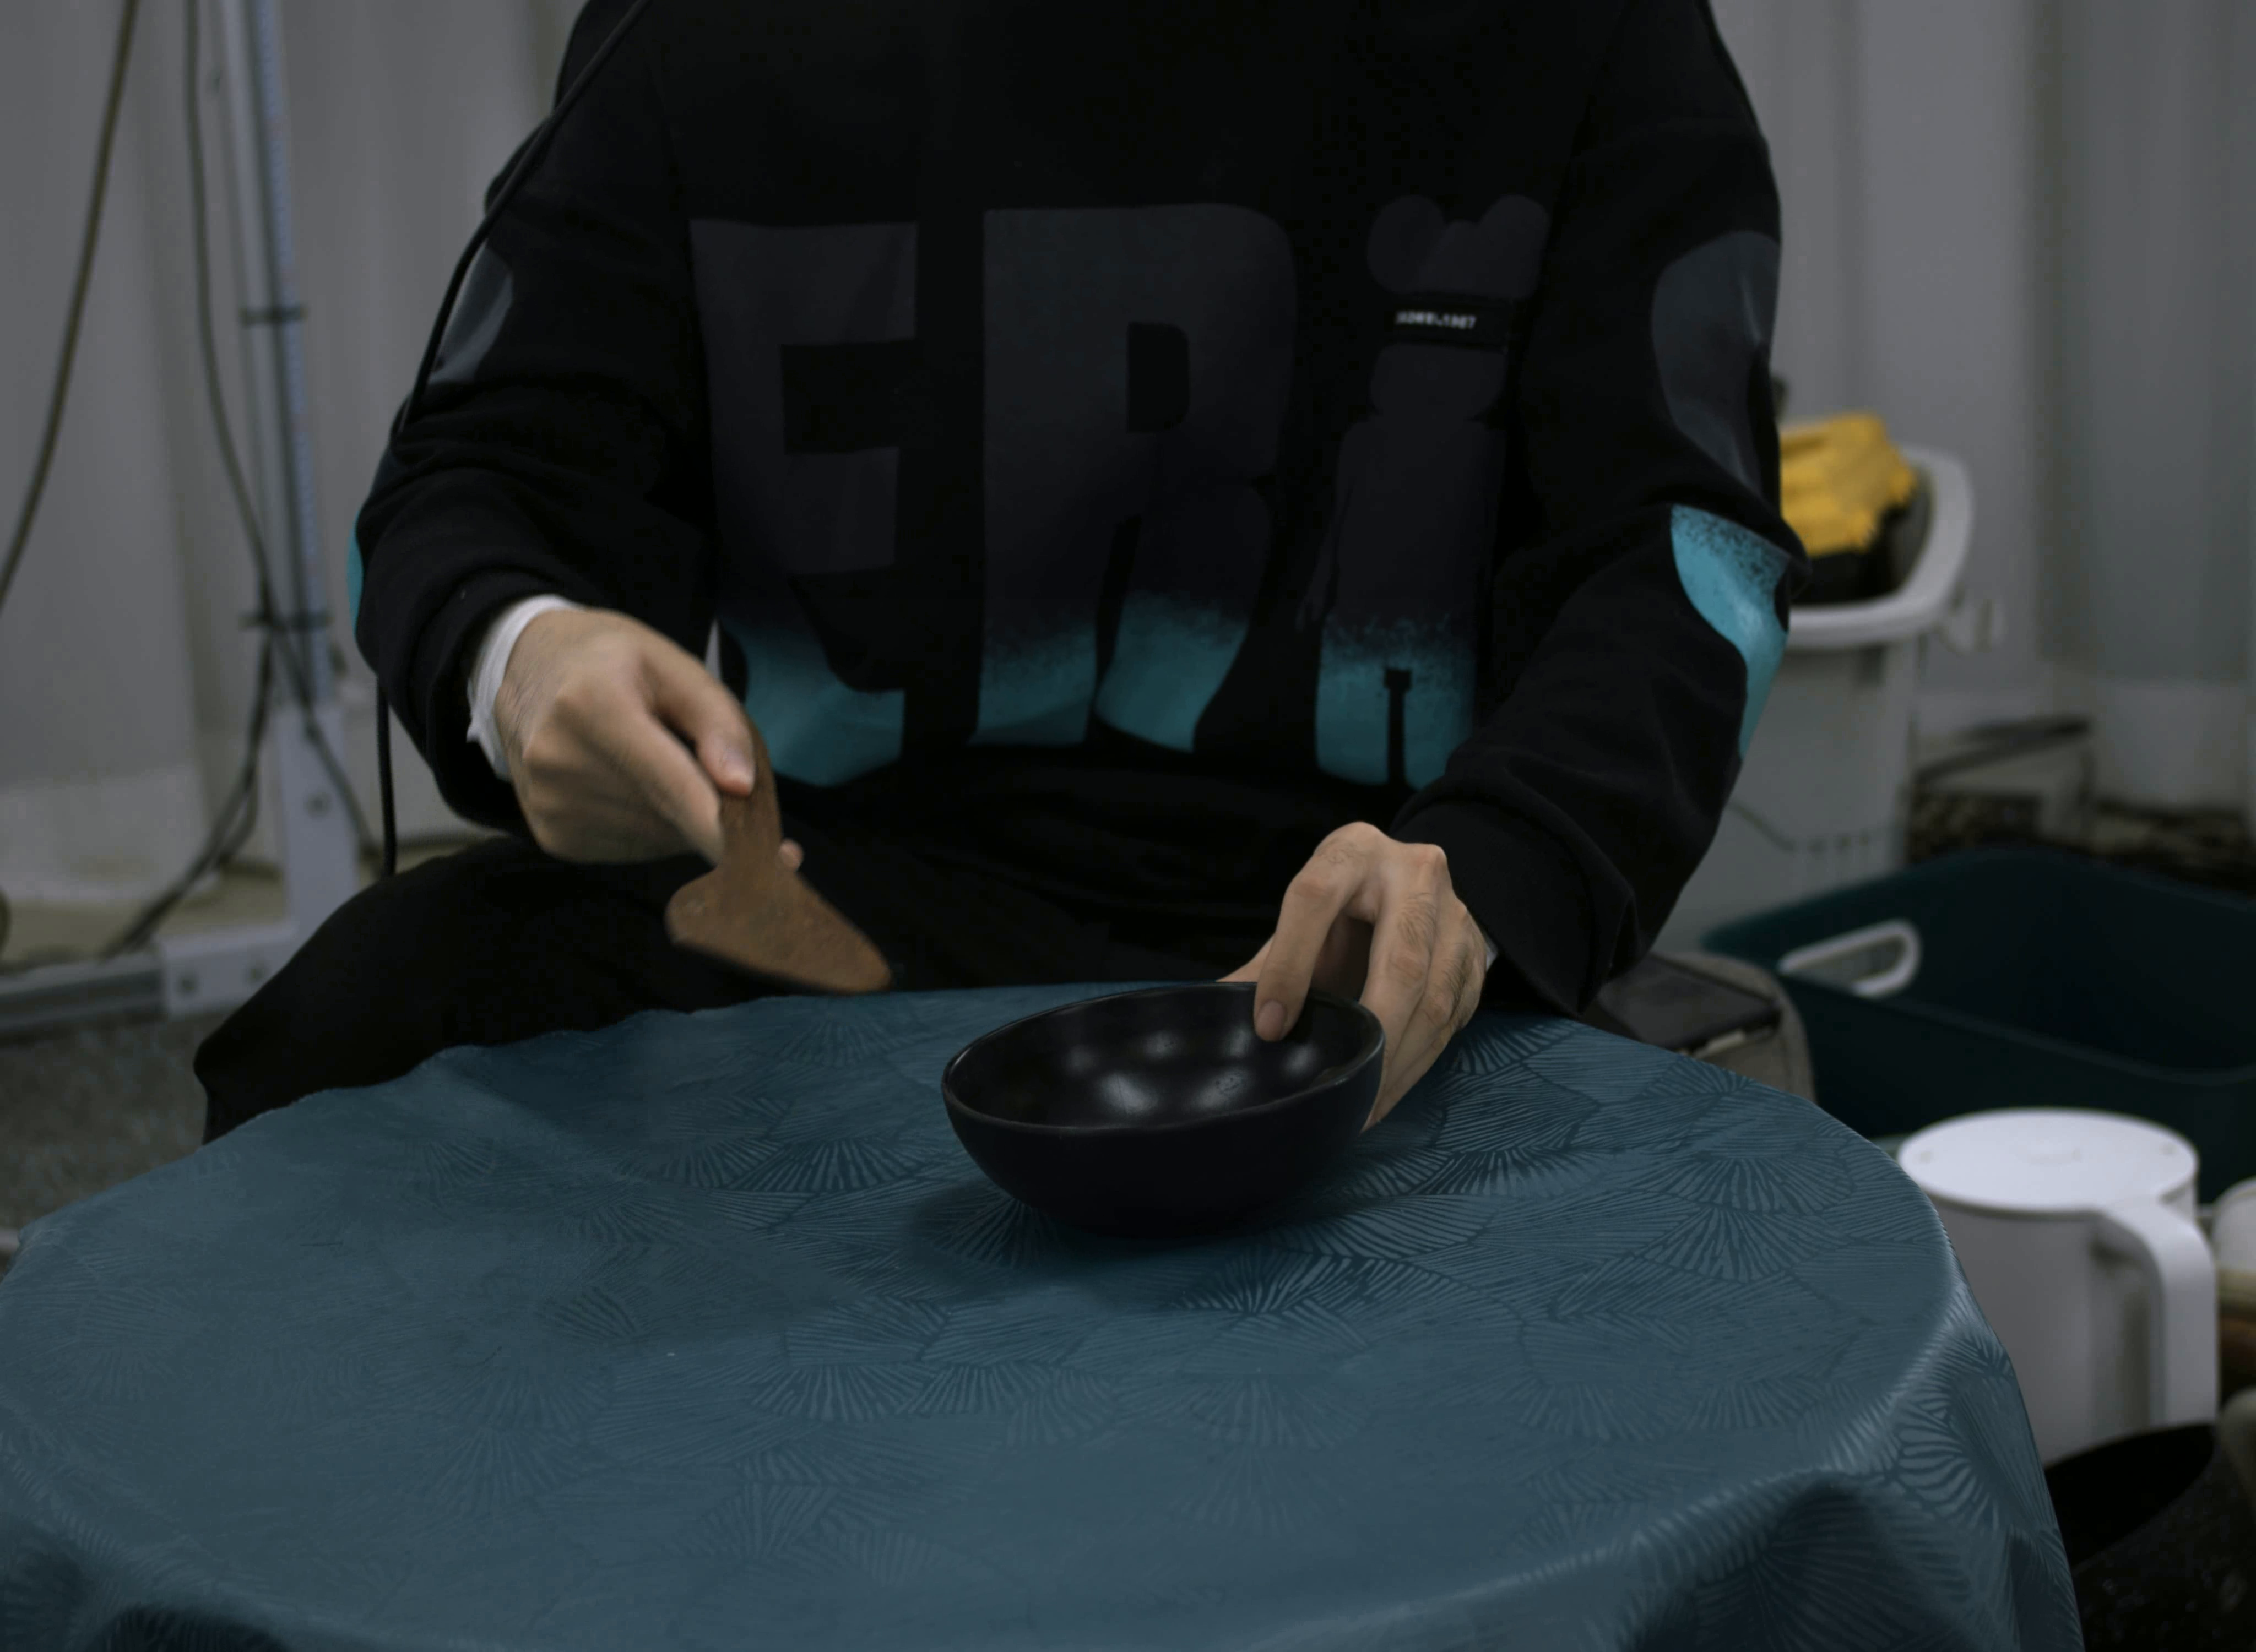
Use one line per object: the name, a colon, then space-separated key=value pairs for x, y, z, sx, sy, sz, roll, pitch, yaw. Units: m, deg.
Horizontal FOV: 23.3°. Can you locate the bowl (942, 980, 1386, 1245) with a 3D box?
bowl: x=0.014 y=0.094 z=1.690 sx=0.139 sy=0.049 sz=0.141 roll=-9 pitch=15 yaw=2

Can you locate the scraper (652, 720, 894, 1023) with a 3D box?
scraper: x=-0.119 y=0.011 z=1.712 sx=0.075 sy=0.011 sz=0.214 roll=16 pitch=20 yaw=-15
